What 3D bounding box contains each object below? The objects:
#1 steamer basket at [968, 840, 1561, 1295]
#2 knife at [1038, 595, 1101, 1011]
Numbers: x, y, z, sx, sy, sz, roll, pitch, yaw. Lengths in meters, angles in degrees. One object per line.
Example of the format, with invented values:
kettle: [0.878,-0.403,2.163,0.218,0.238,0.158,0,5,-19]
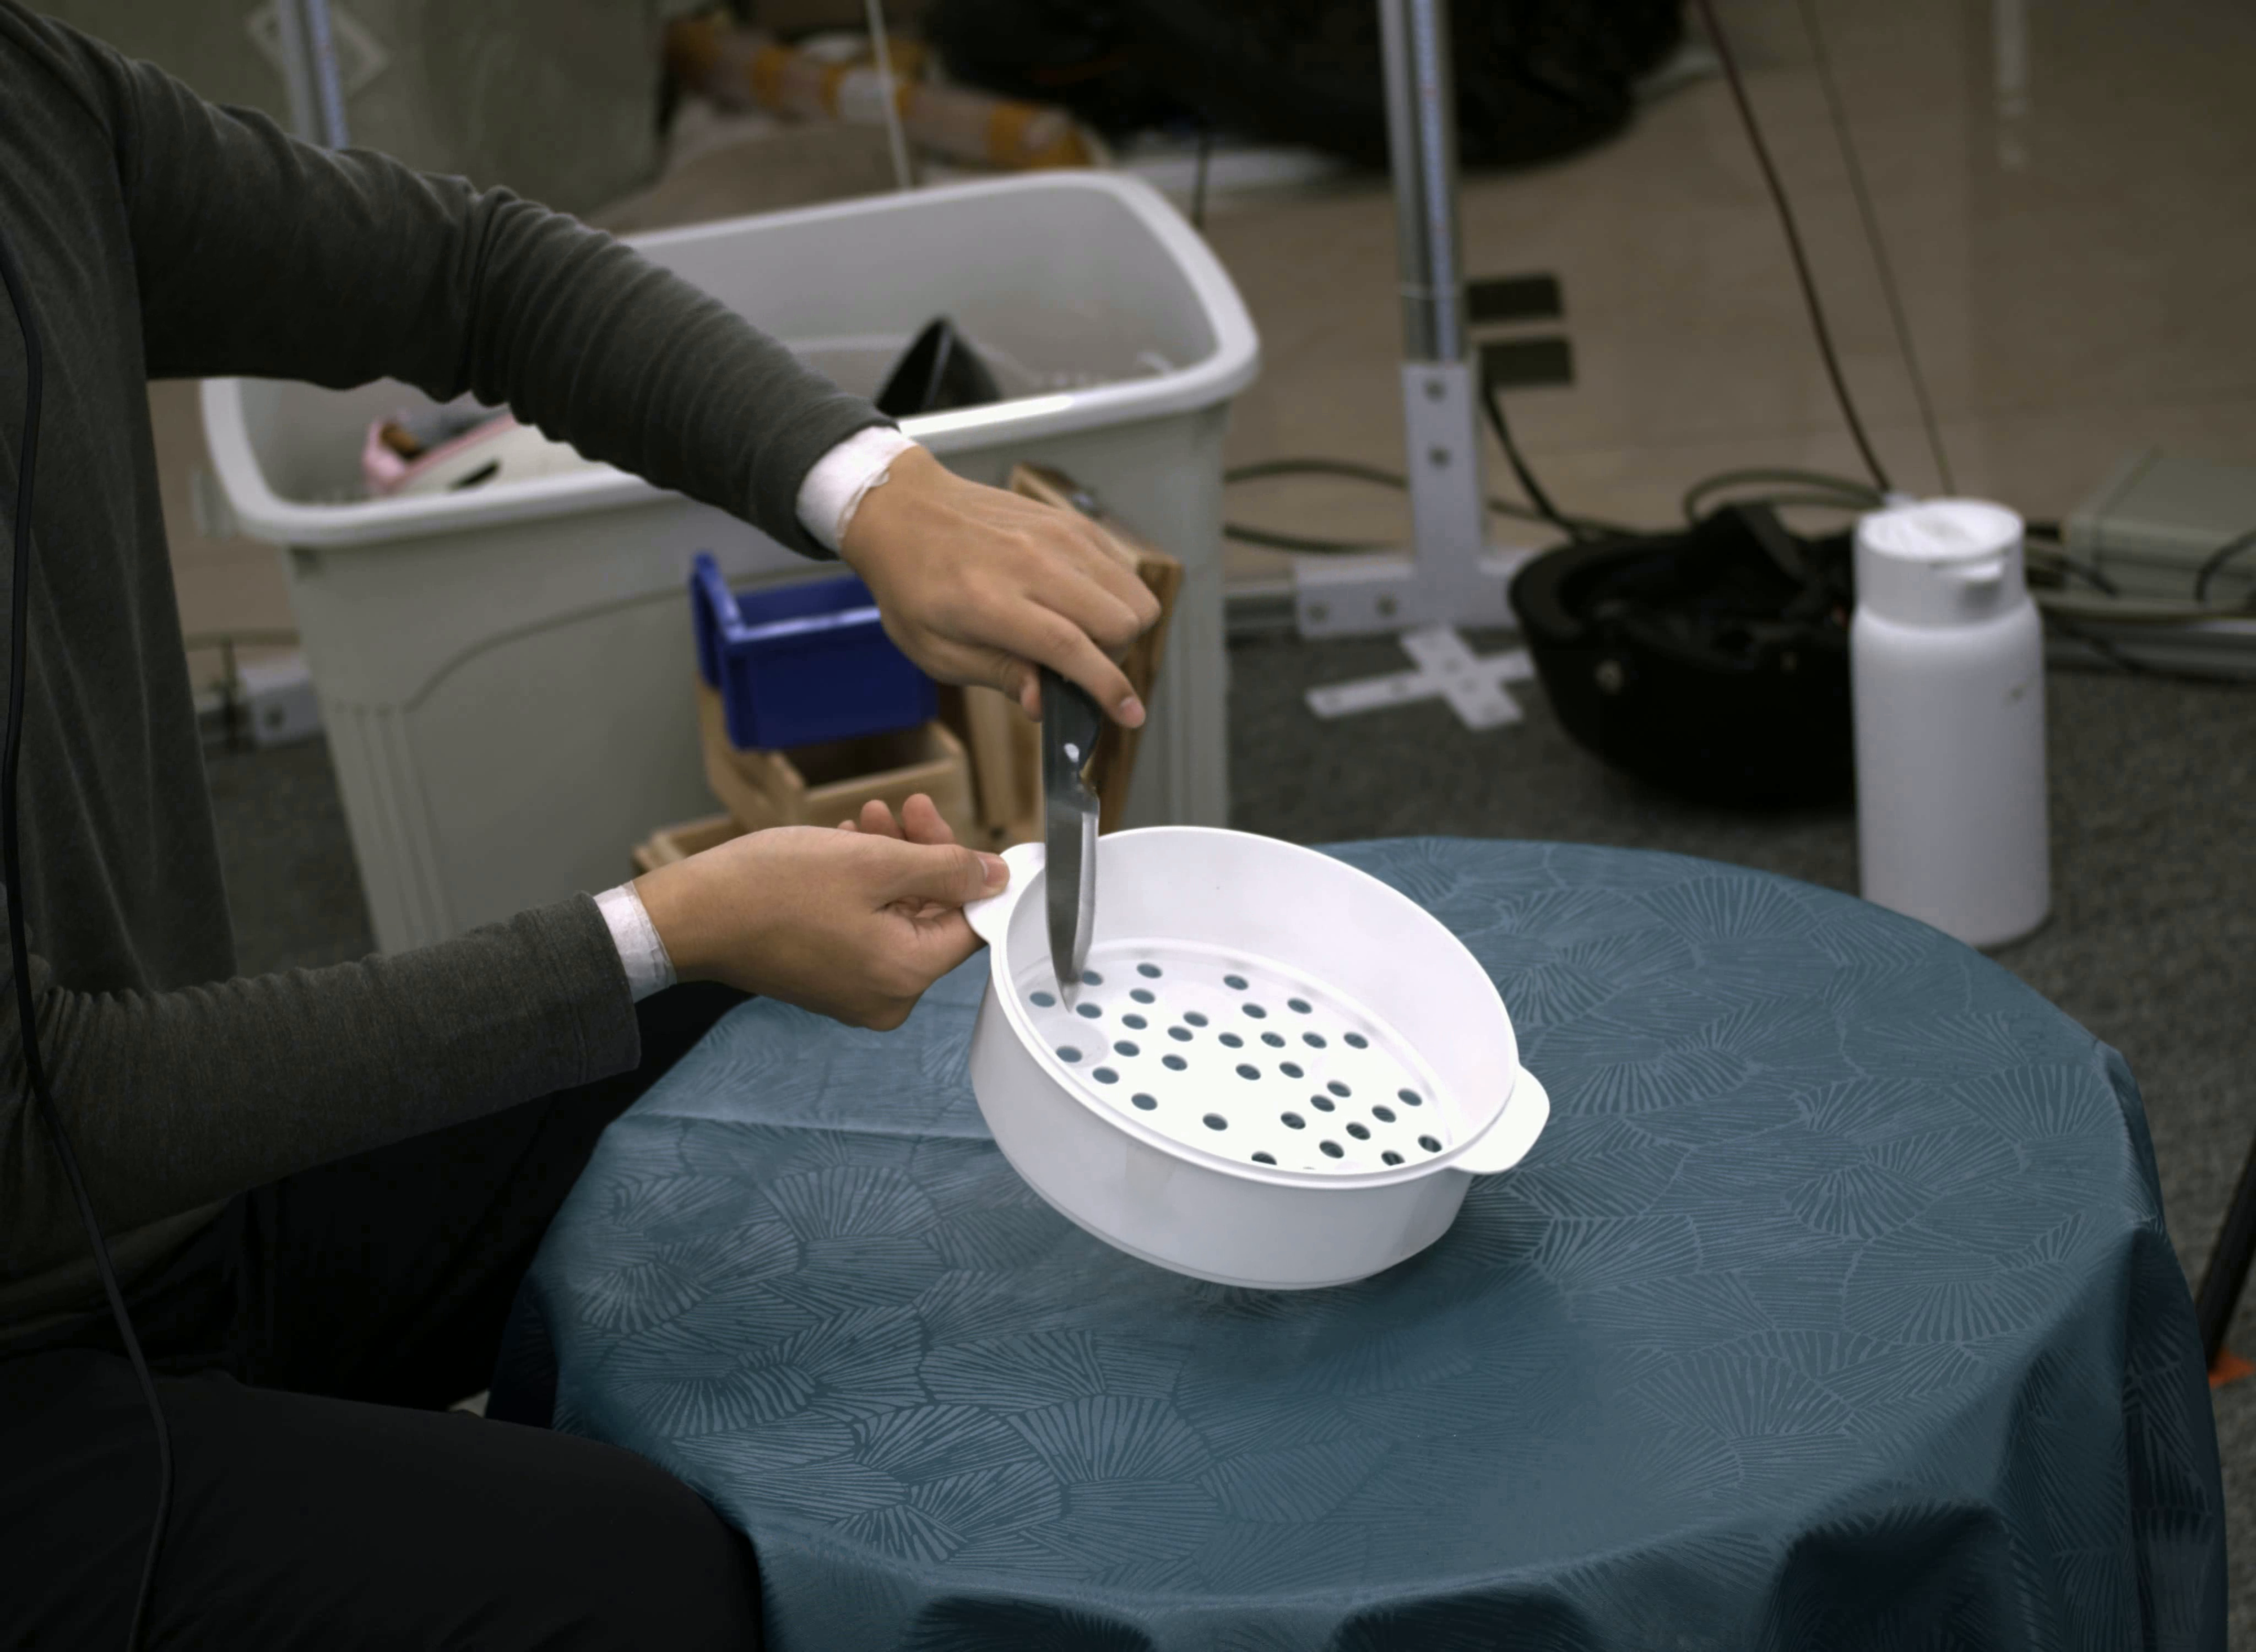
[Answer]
steamer basket: [0.044,0.090,2.099,0.229,0.070,0.199,25,36,11]
knife: [-0.022,-0.011,2.125,0.024,0.016,0.234,16,39,-15]
